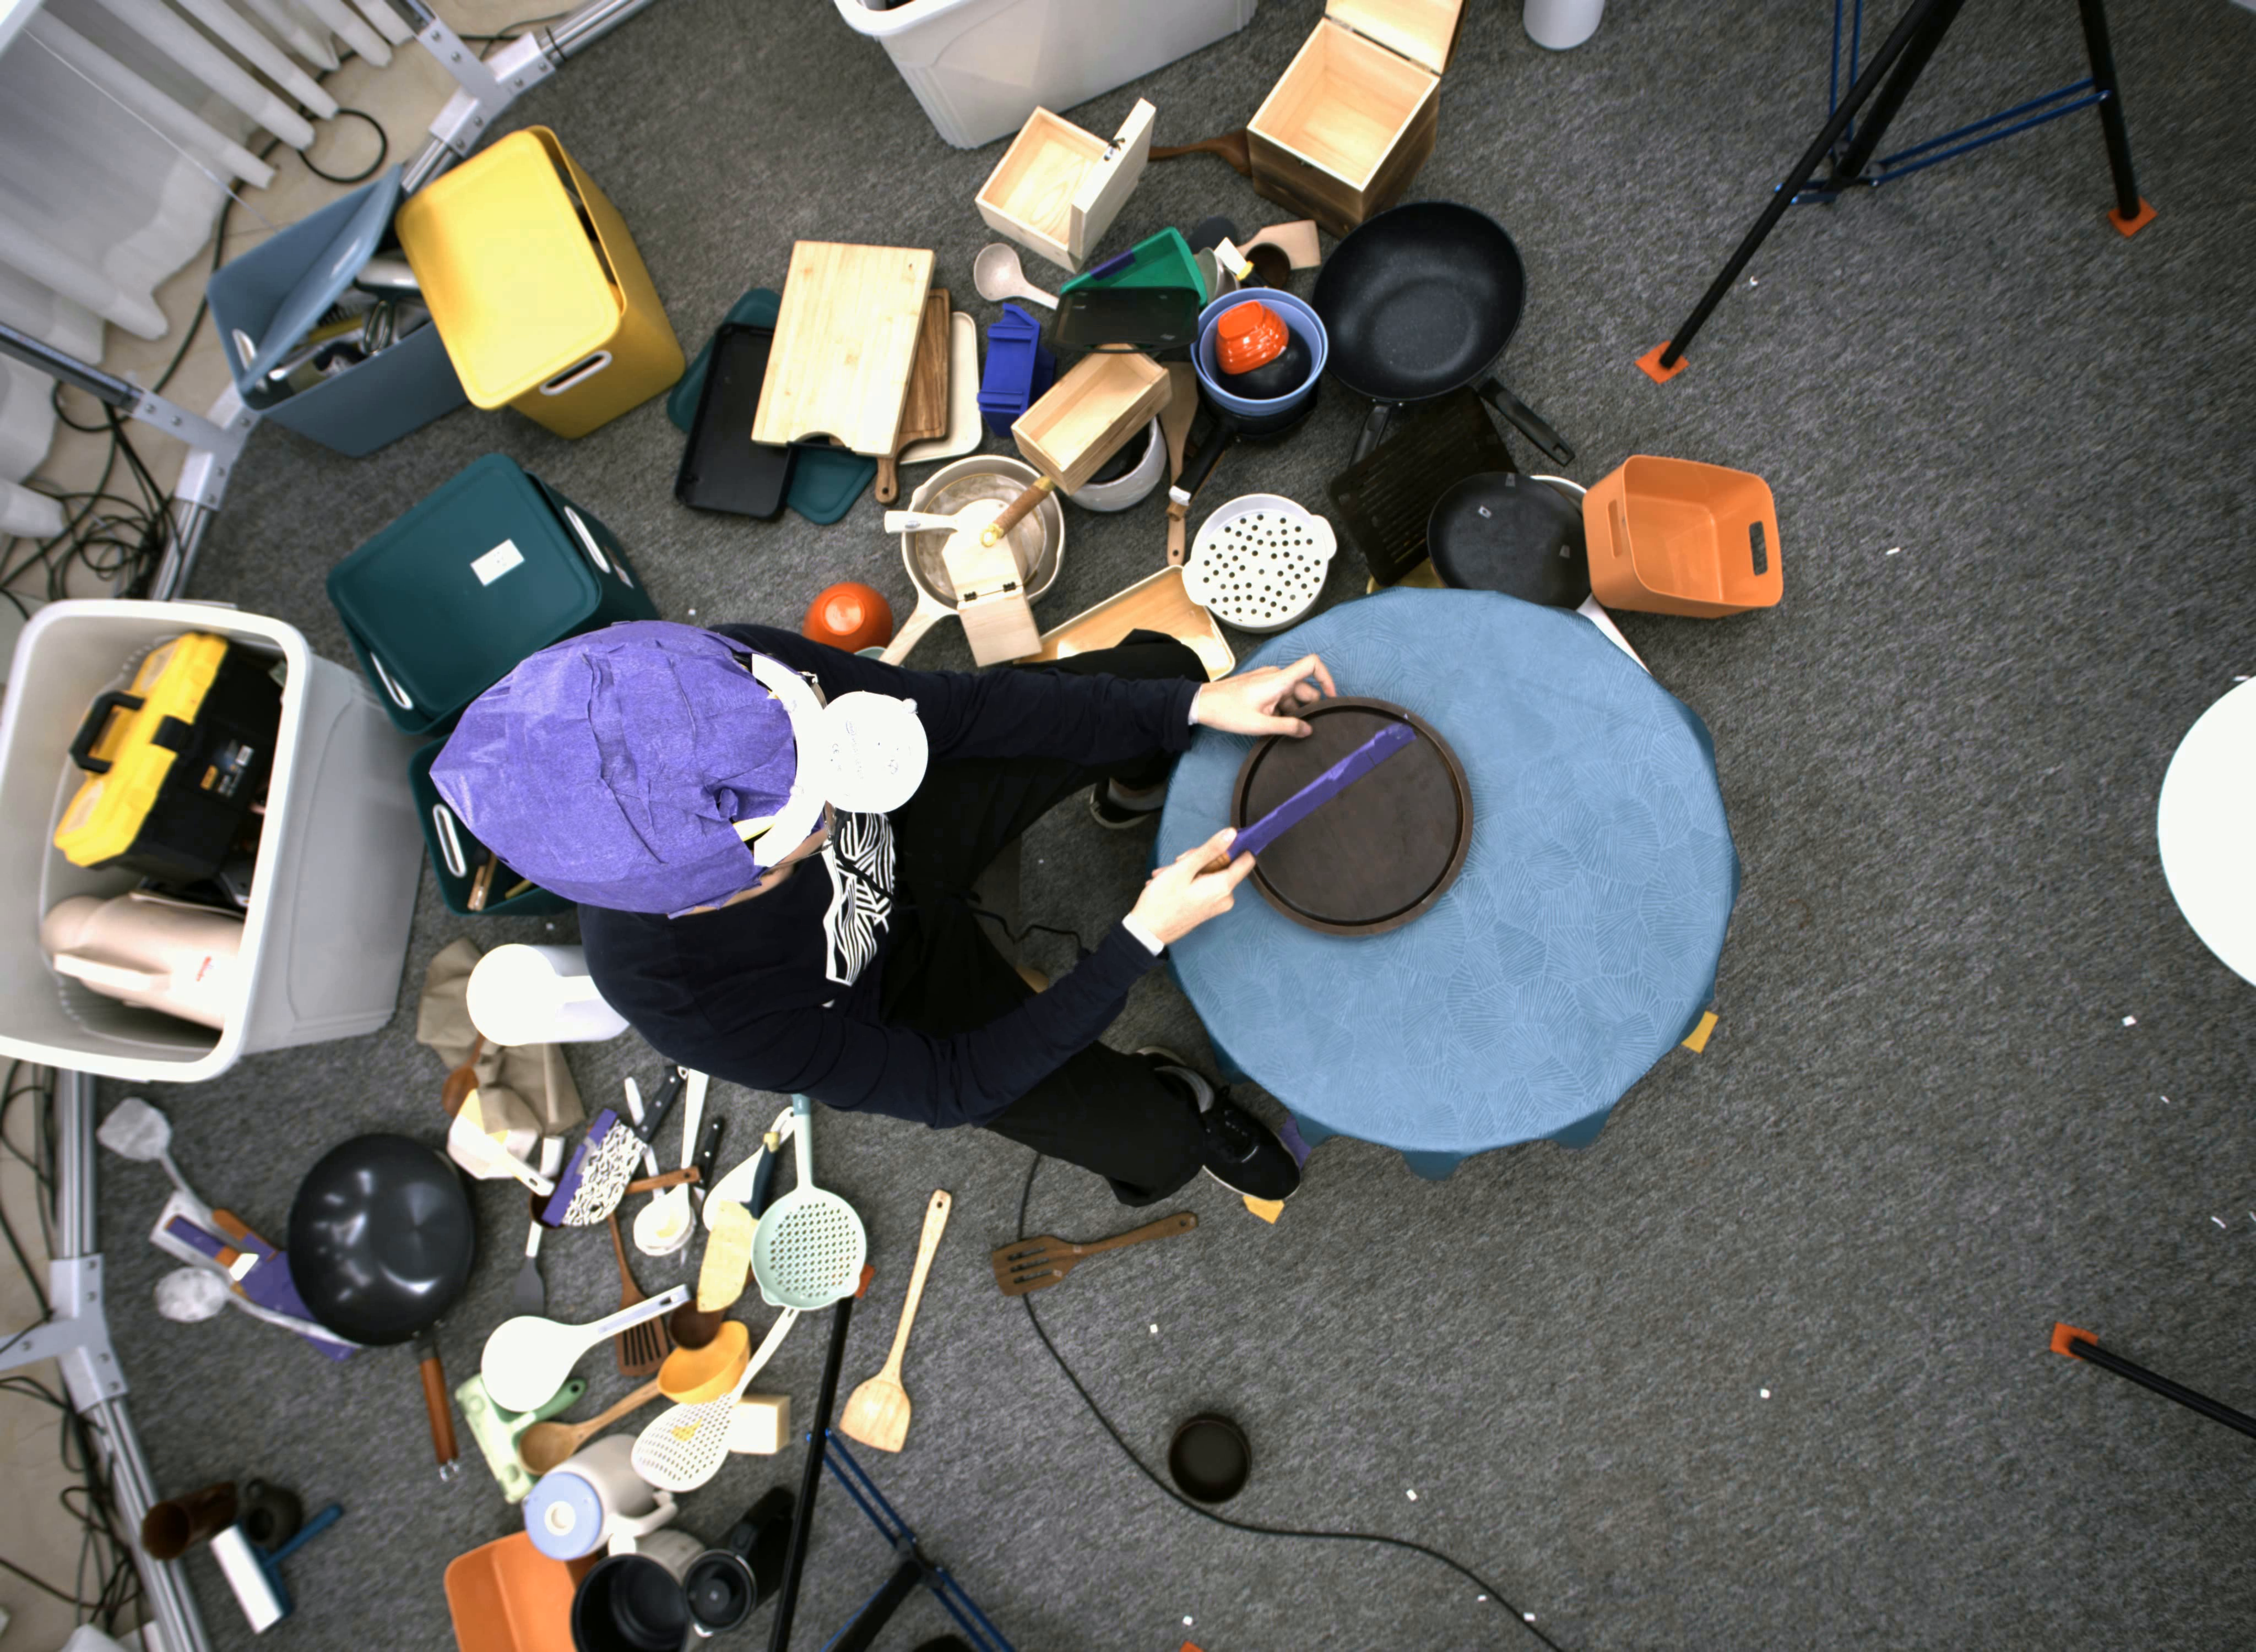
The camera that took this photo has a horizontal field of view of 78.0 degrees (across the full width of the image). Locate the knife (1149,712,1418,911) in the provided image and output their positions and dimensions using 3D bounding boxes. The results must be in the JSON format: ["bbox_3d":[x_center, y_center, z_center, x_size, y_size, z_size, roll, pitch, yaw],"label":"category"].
[{"bbox_3d":[0.164,-0.010,1.404,0.318,0.104,0.032,-35,71,10],"label":"knife"}]

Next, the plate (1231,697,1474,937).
[{"bbox_3d":[0.234,-0.010,1.451,0.255,0.029,0.255,0,92,8],"label":"plate"}]
